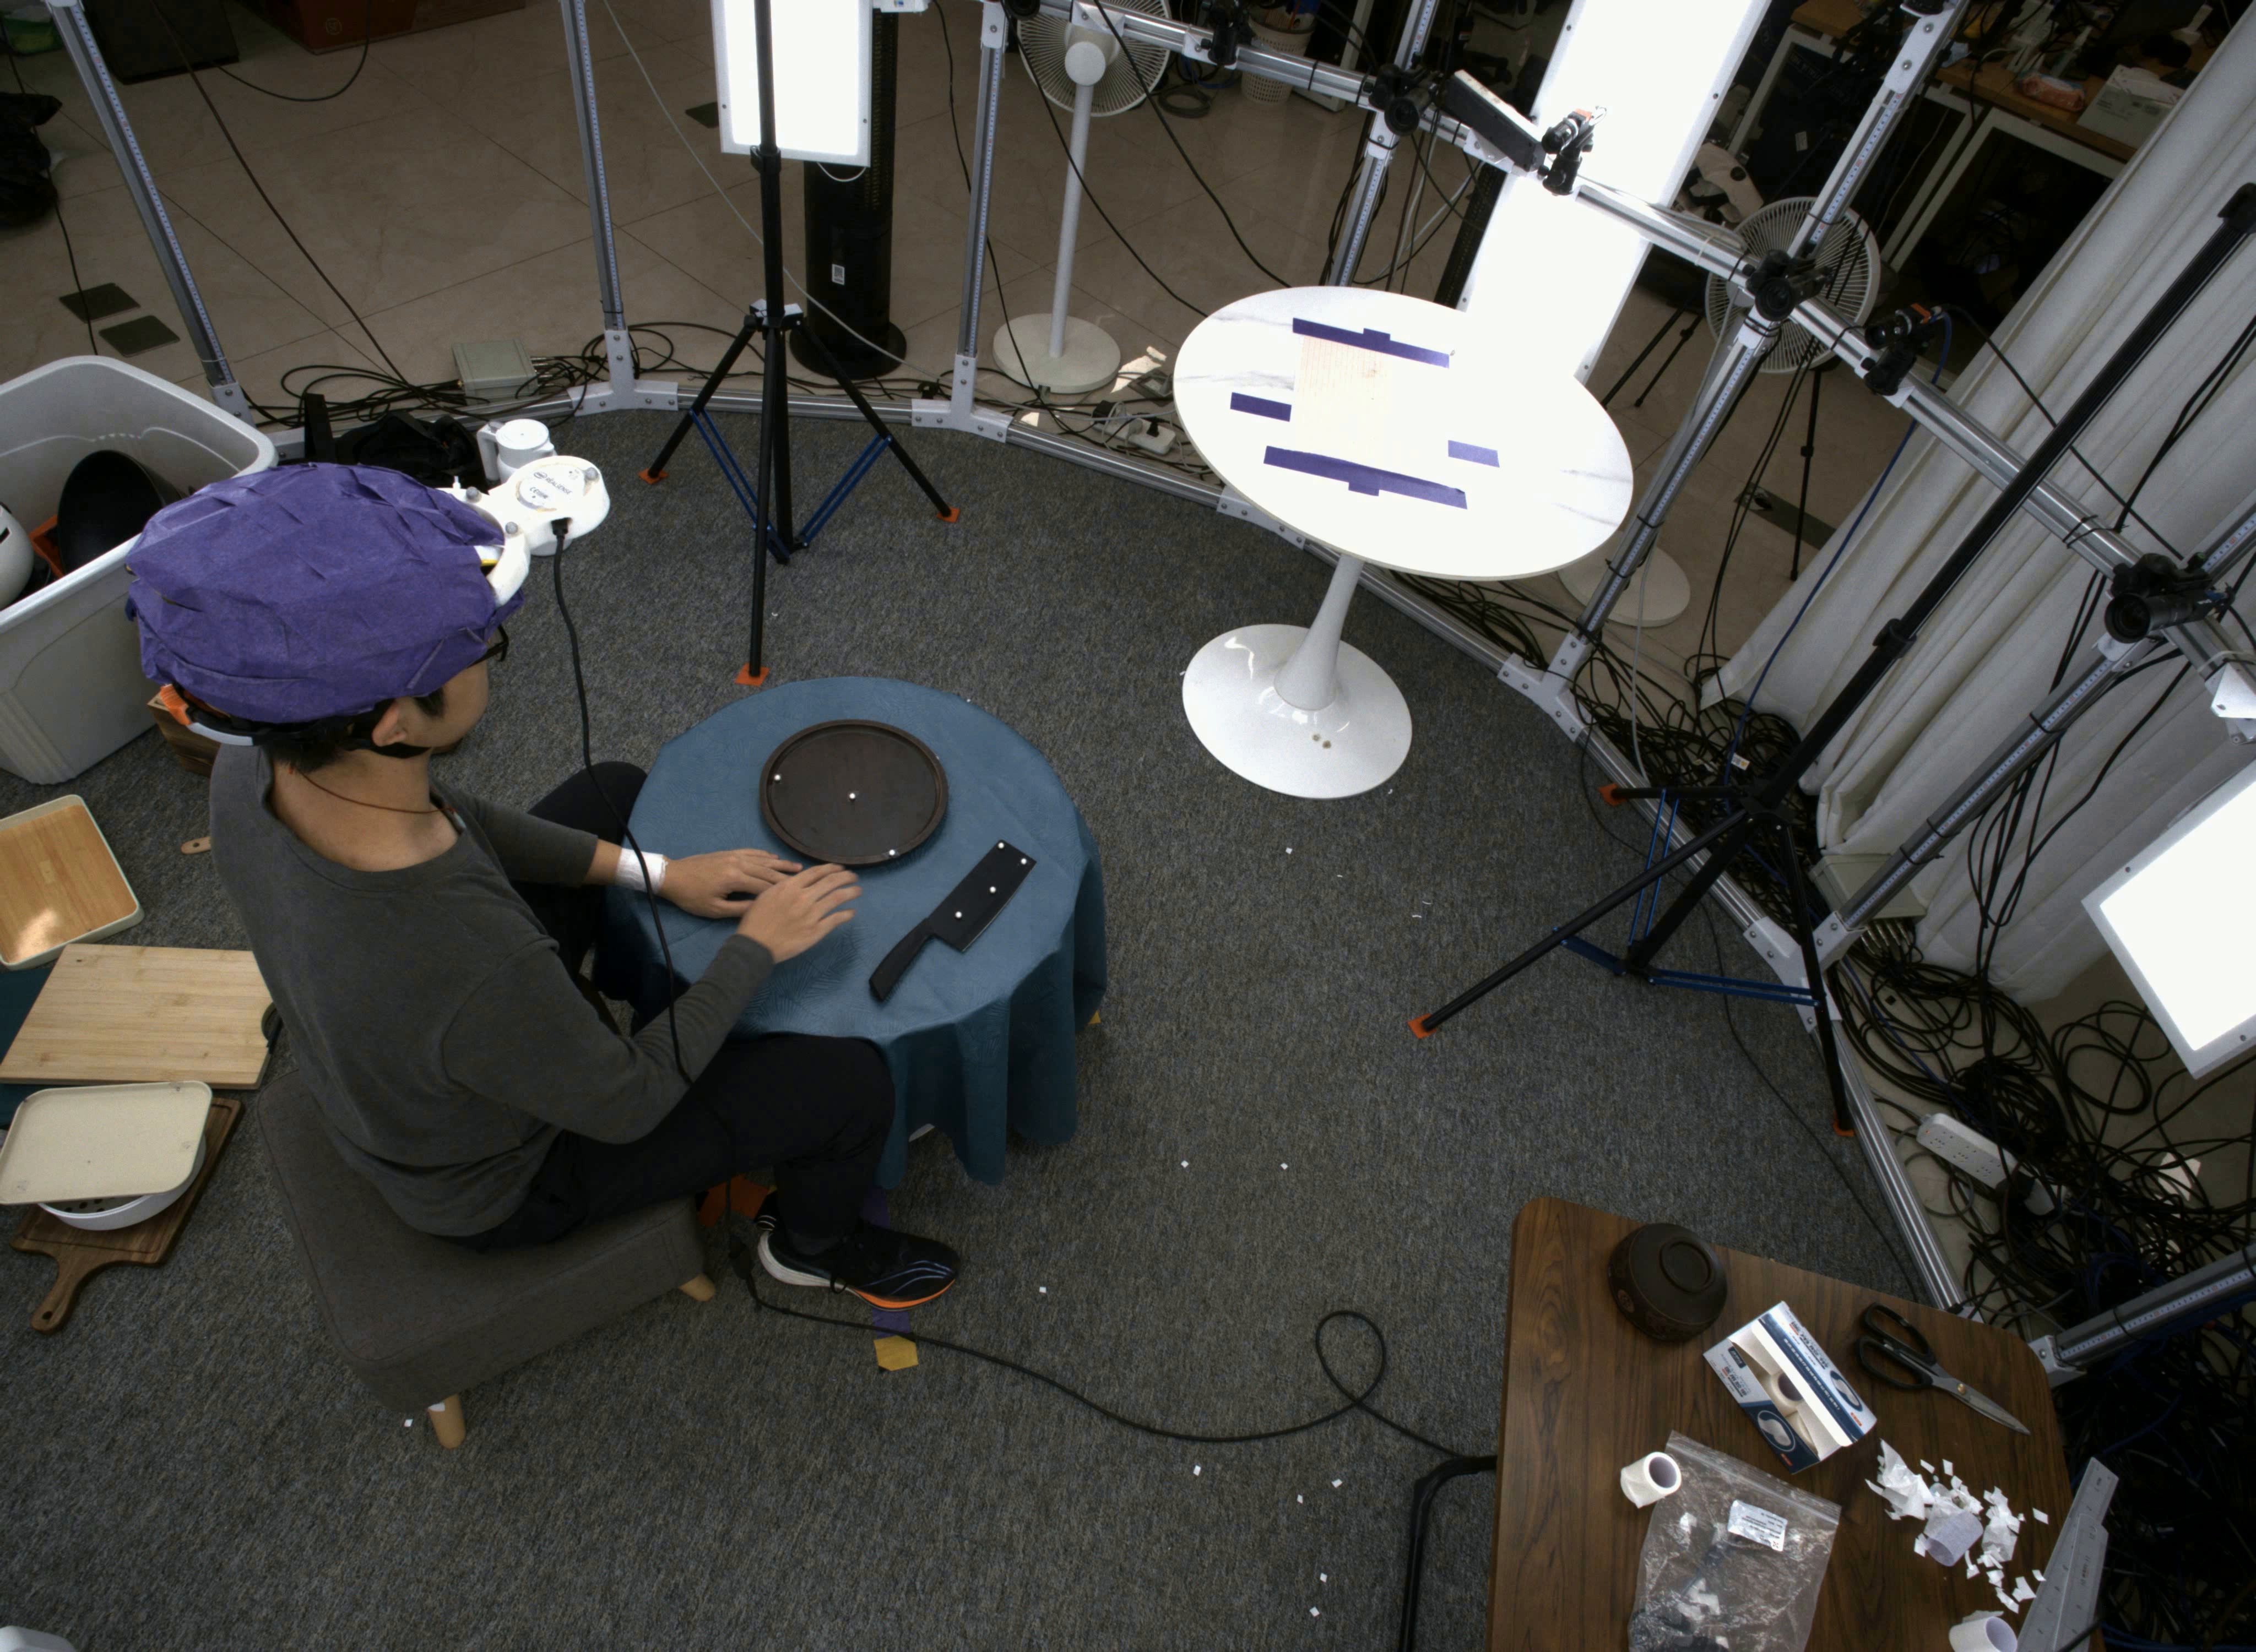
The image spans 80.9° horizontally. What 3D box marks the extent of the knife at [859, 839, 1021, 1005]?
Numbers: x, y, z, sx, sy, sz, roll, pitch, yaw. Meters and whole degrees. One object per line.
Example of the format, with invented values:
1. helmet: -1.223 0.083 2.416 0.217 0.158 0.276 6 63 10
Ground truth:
1. knife: -0.242 0.121 1.684 0.079 0.021 0.302 35 52 11

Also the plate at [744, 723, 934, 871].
1. plate: -0.391 -0.042 1.761 0.254 0.029 0.250 8 53 -10
